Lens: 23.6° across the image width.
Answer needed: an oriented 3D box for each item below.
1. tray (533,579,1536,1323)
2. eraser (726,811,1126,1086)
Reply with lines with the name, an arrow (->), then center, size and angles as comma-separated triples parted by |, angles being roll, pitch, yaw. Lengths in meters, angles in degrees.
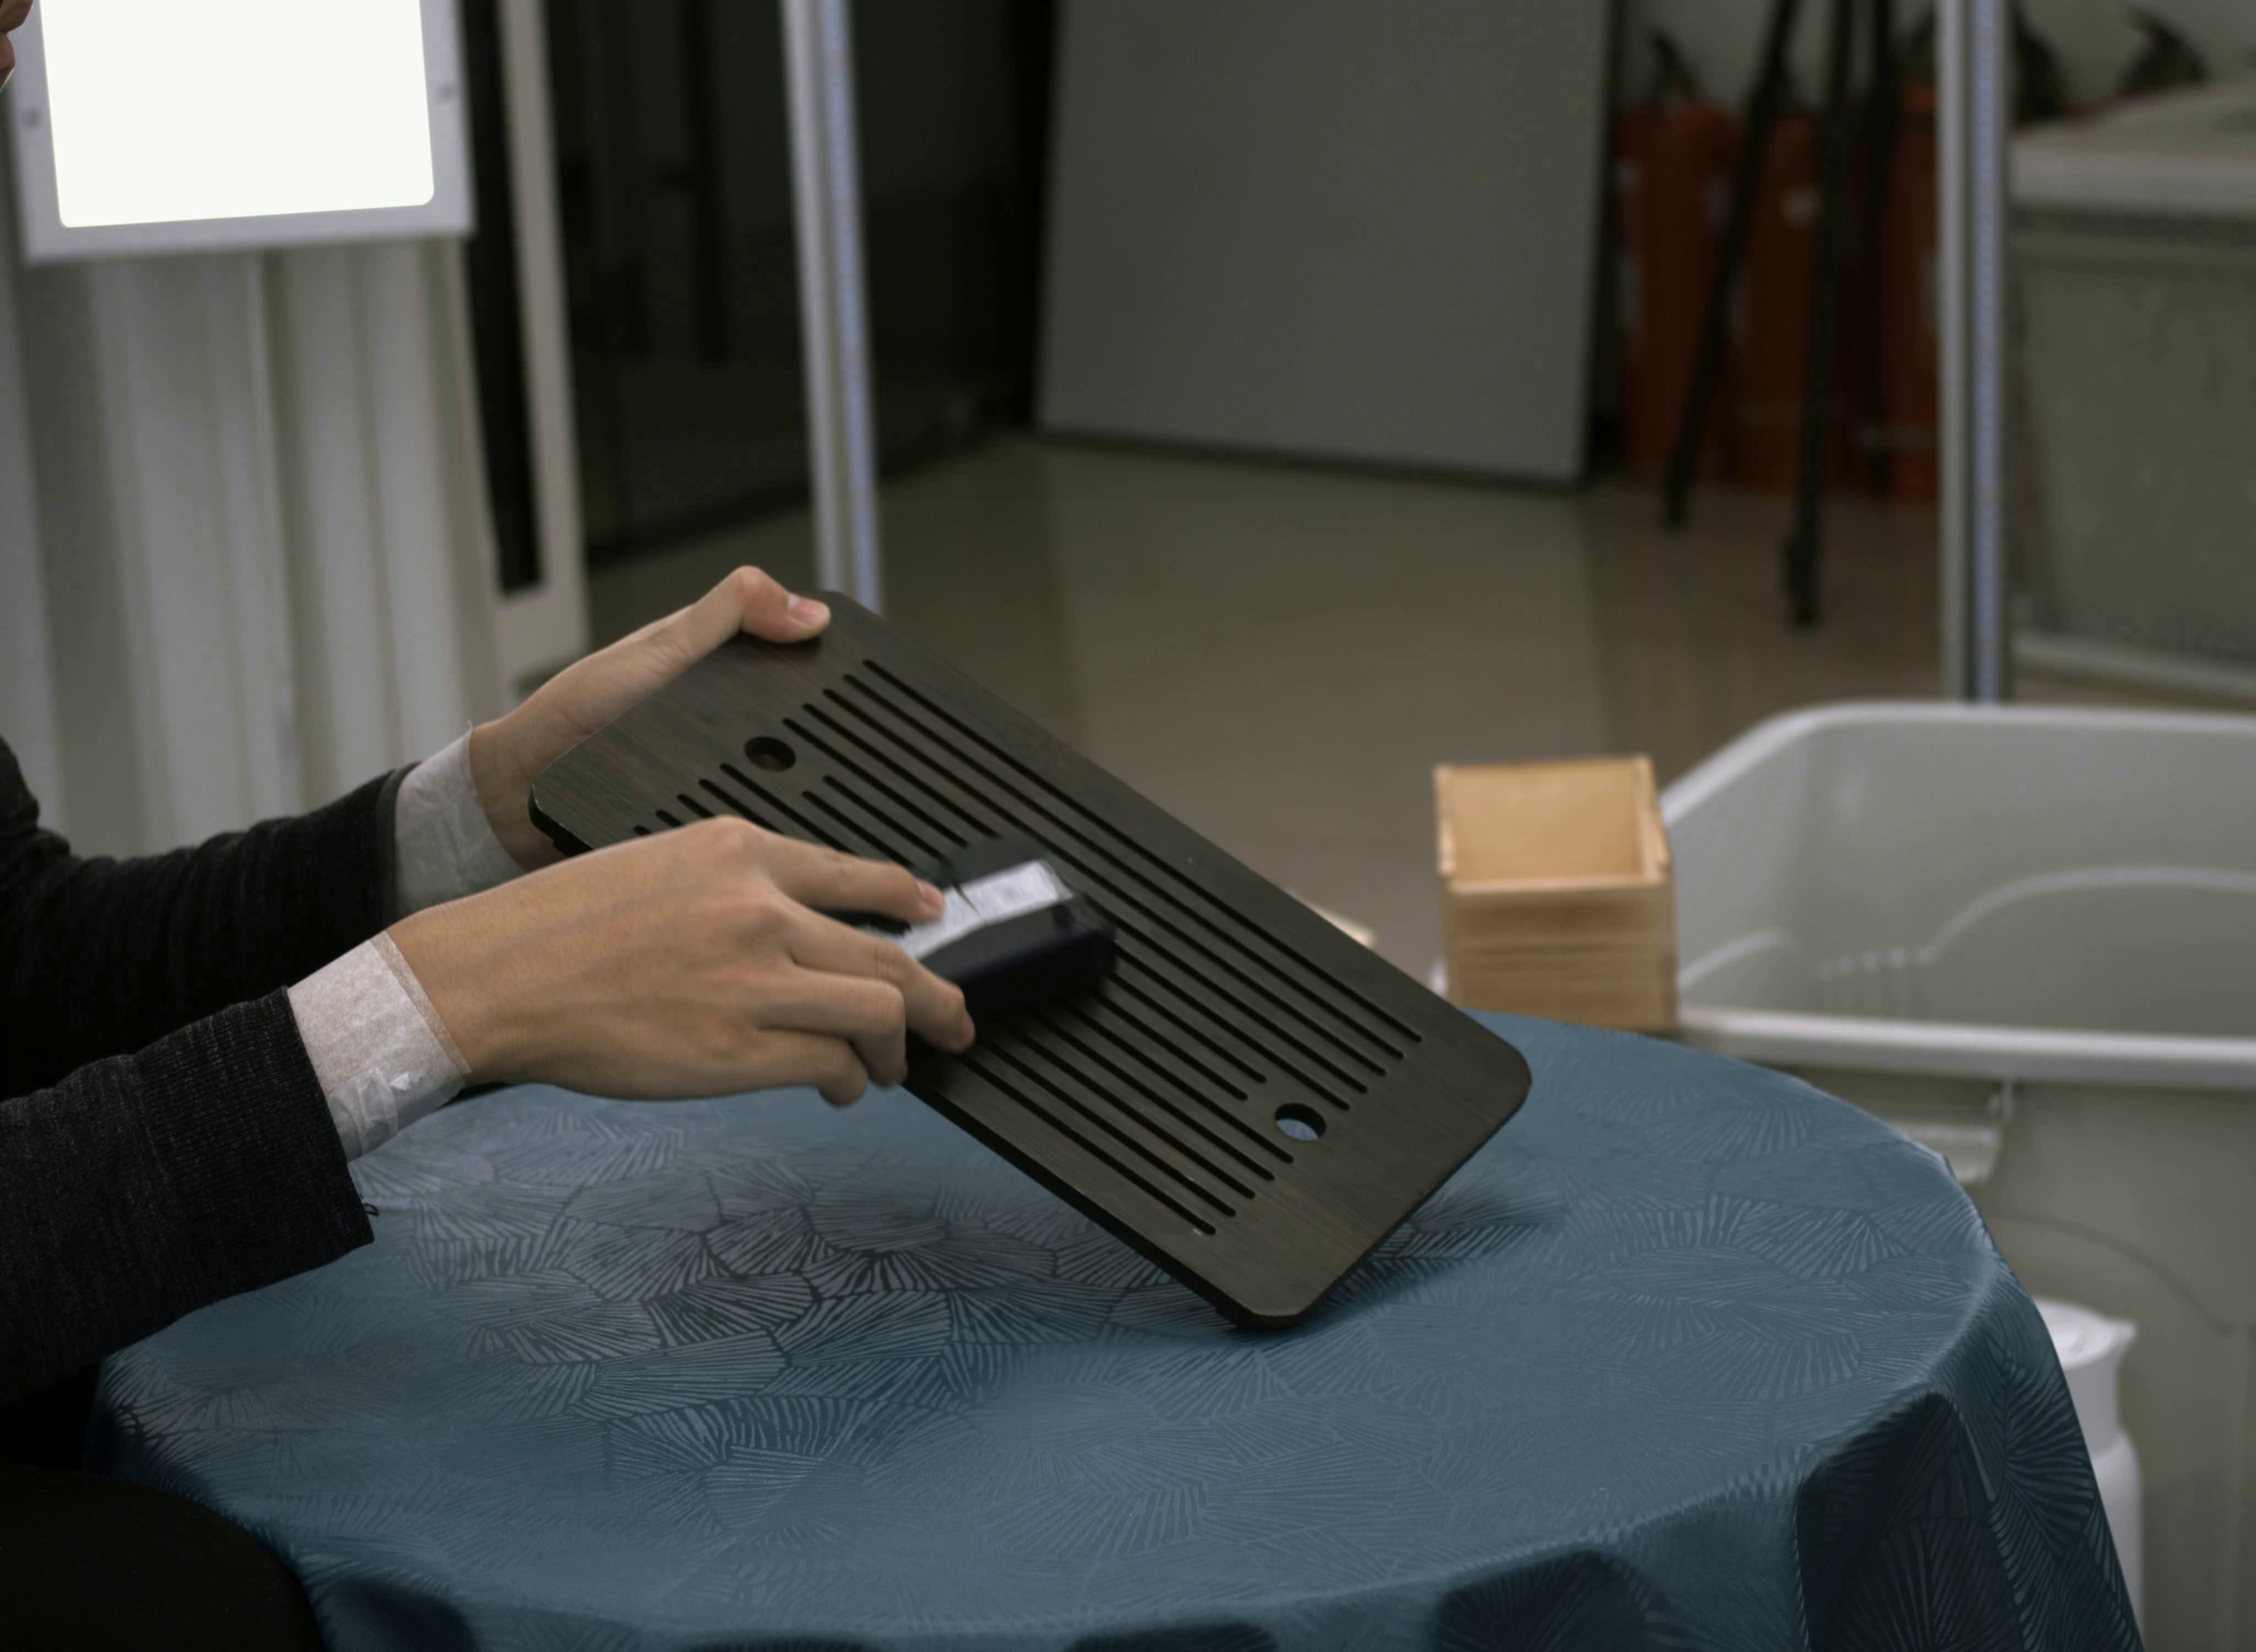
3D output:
tray -> -0.030, 0.036, 1.726 | 0.307, 0.019, 0.168 | 34, 42, 17
eraser -> -0.063, 0.036, 1.681 | 0.123, 0.031, 0.054 | -23, 52, -36
